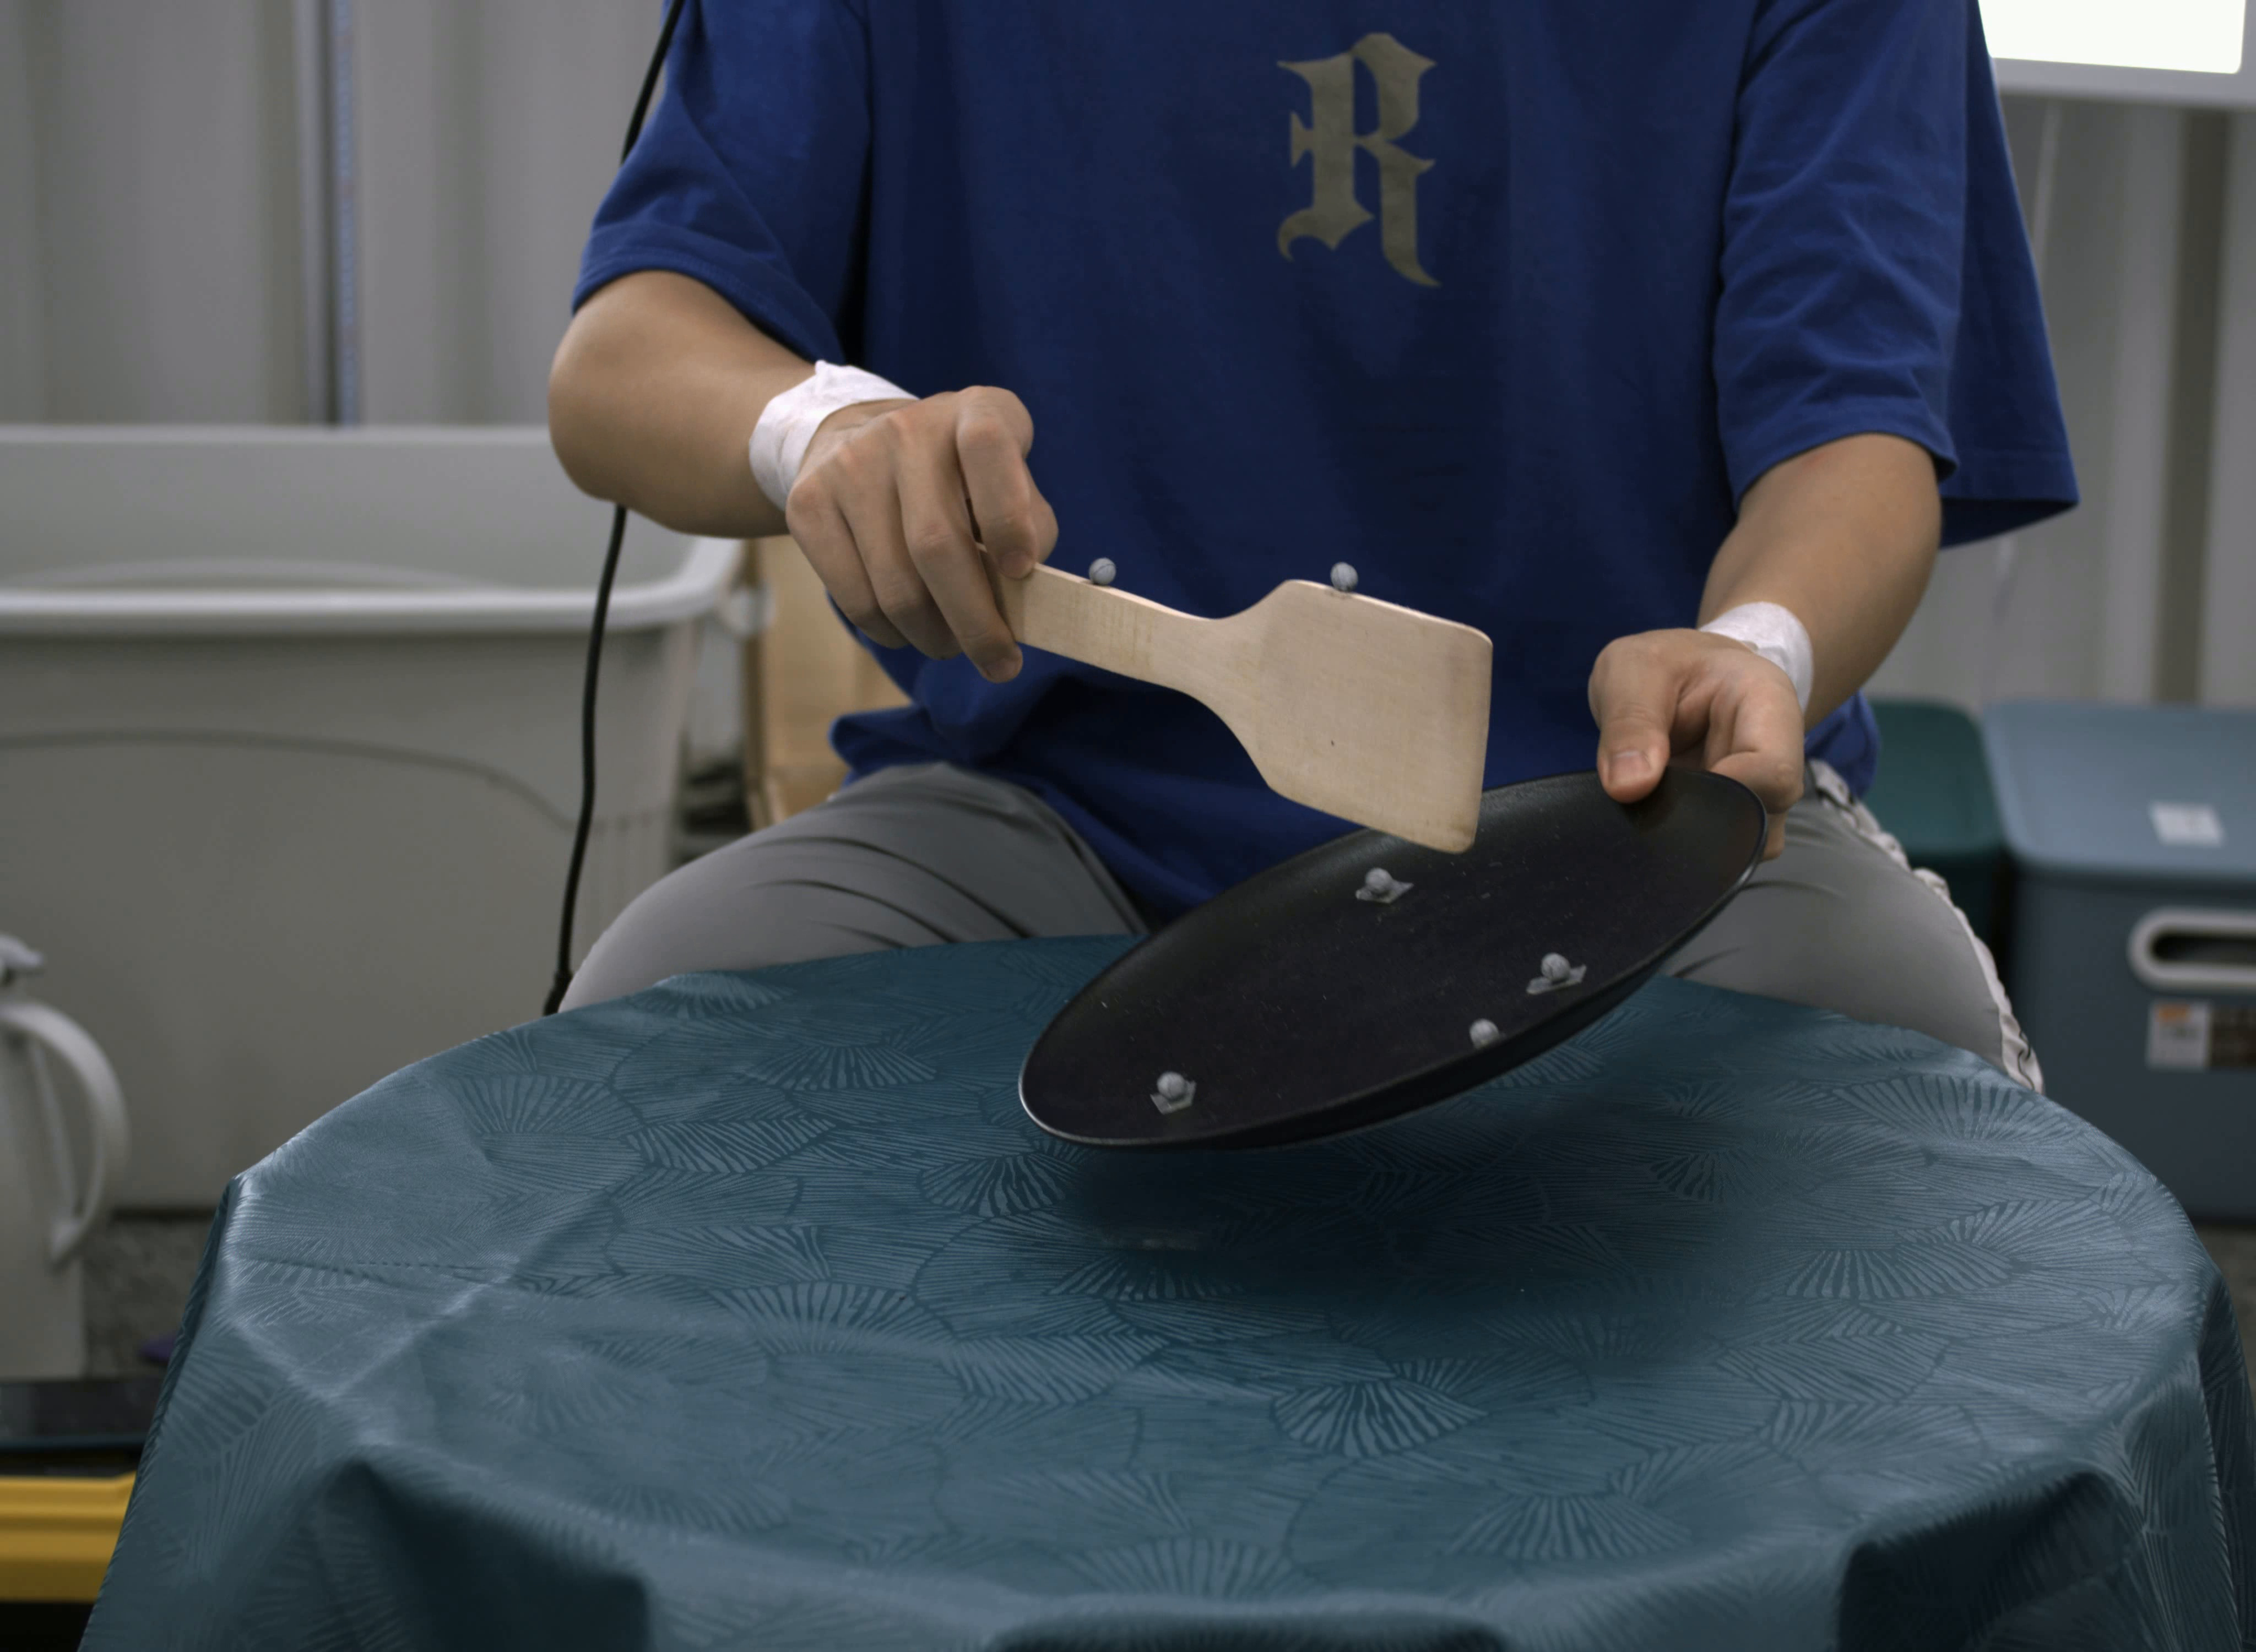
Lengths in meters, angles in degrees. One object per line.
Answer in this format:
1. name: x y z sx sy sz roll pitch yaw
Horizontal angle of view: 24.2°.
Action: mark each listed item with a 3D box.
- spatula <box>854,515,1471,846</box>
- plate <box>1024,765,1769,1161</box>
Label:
1. spatula: 0.004 -0.061 1.673 0.011 0.073 0.289 -12 21 -40
2. plate: 0.084 0.046 1.604 0.243 0.023 0.243 -21 16 7
